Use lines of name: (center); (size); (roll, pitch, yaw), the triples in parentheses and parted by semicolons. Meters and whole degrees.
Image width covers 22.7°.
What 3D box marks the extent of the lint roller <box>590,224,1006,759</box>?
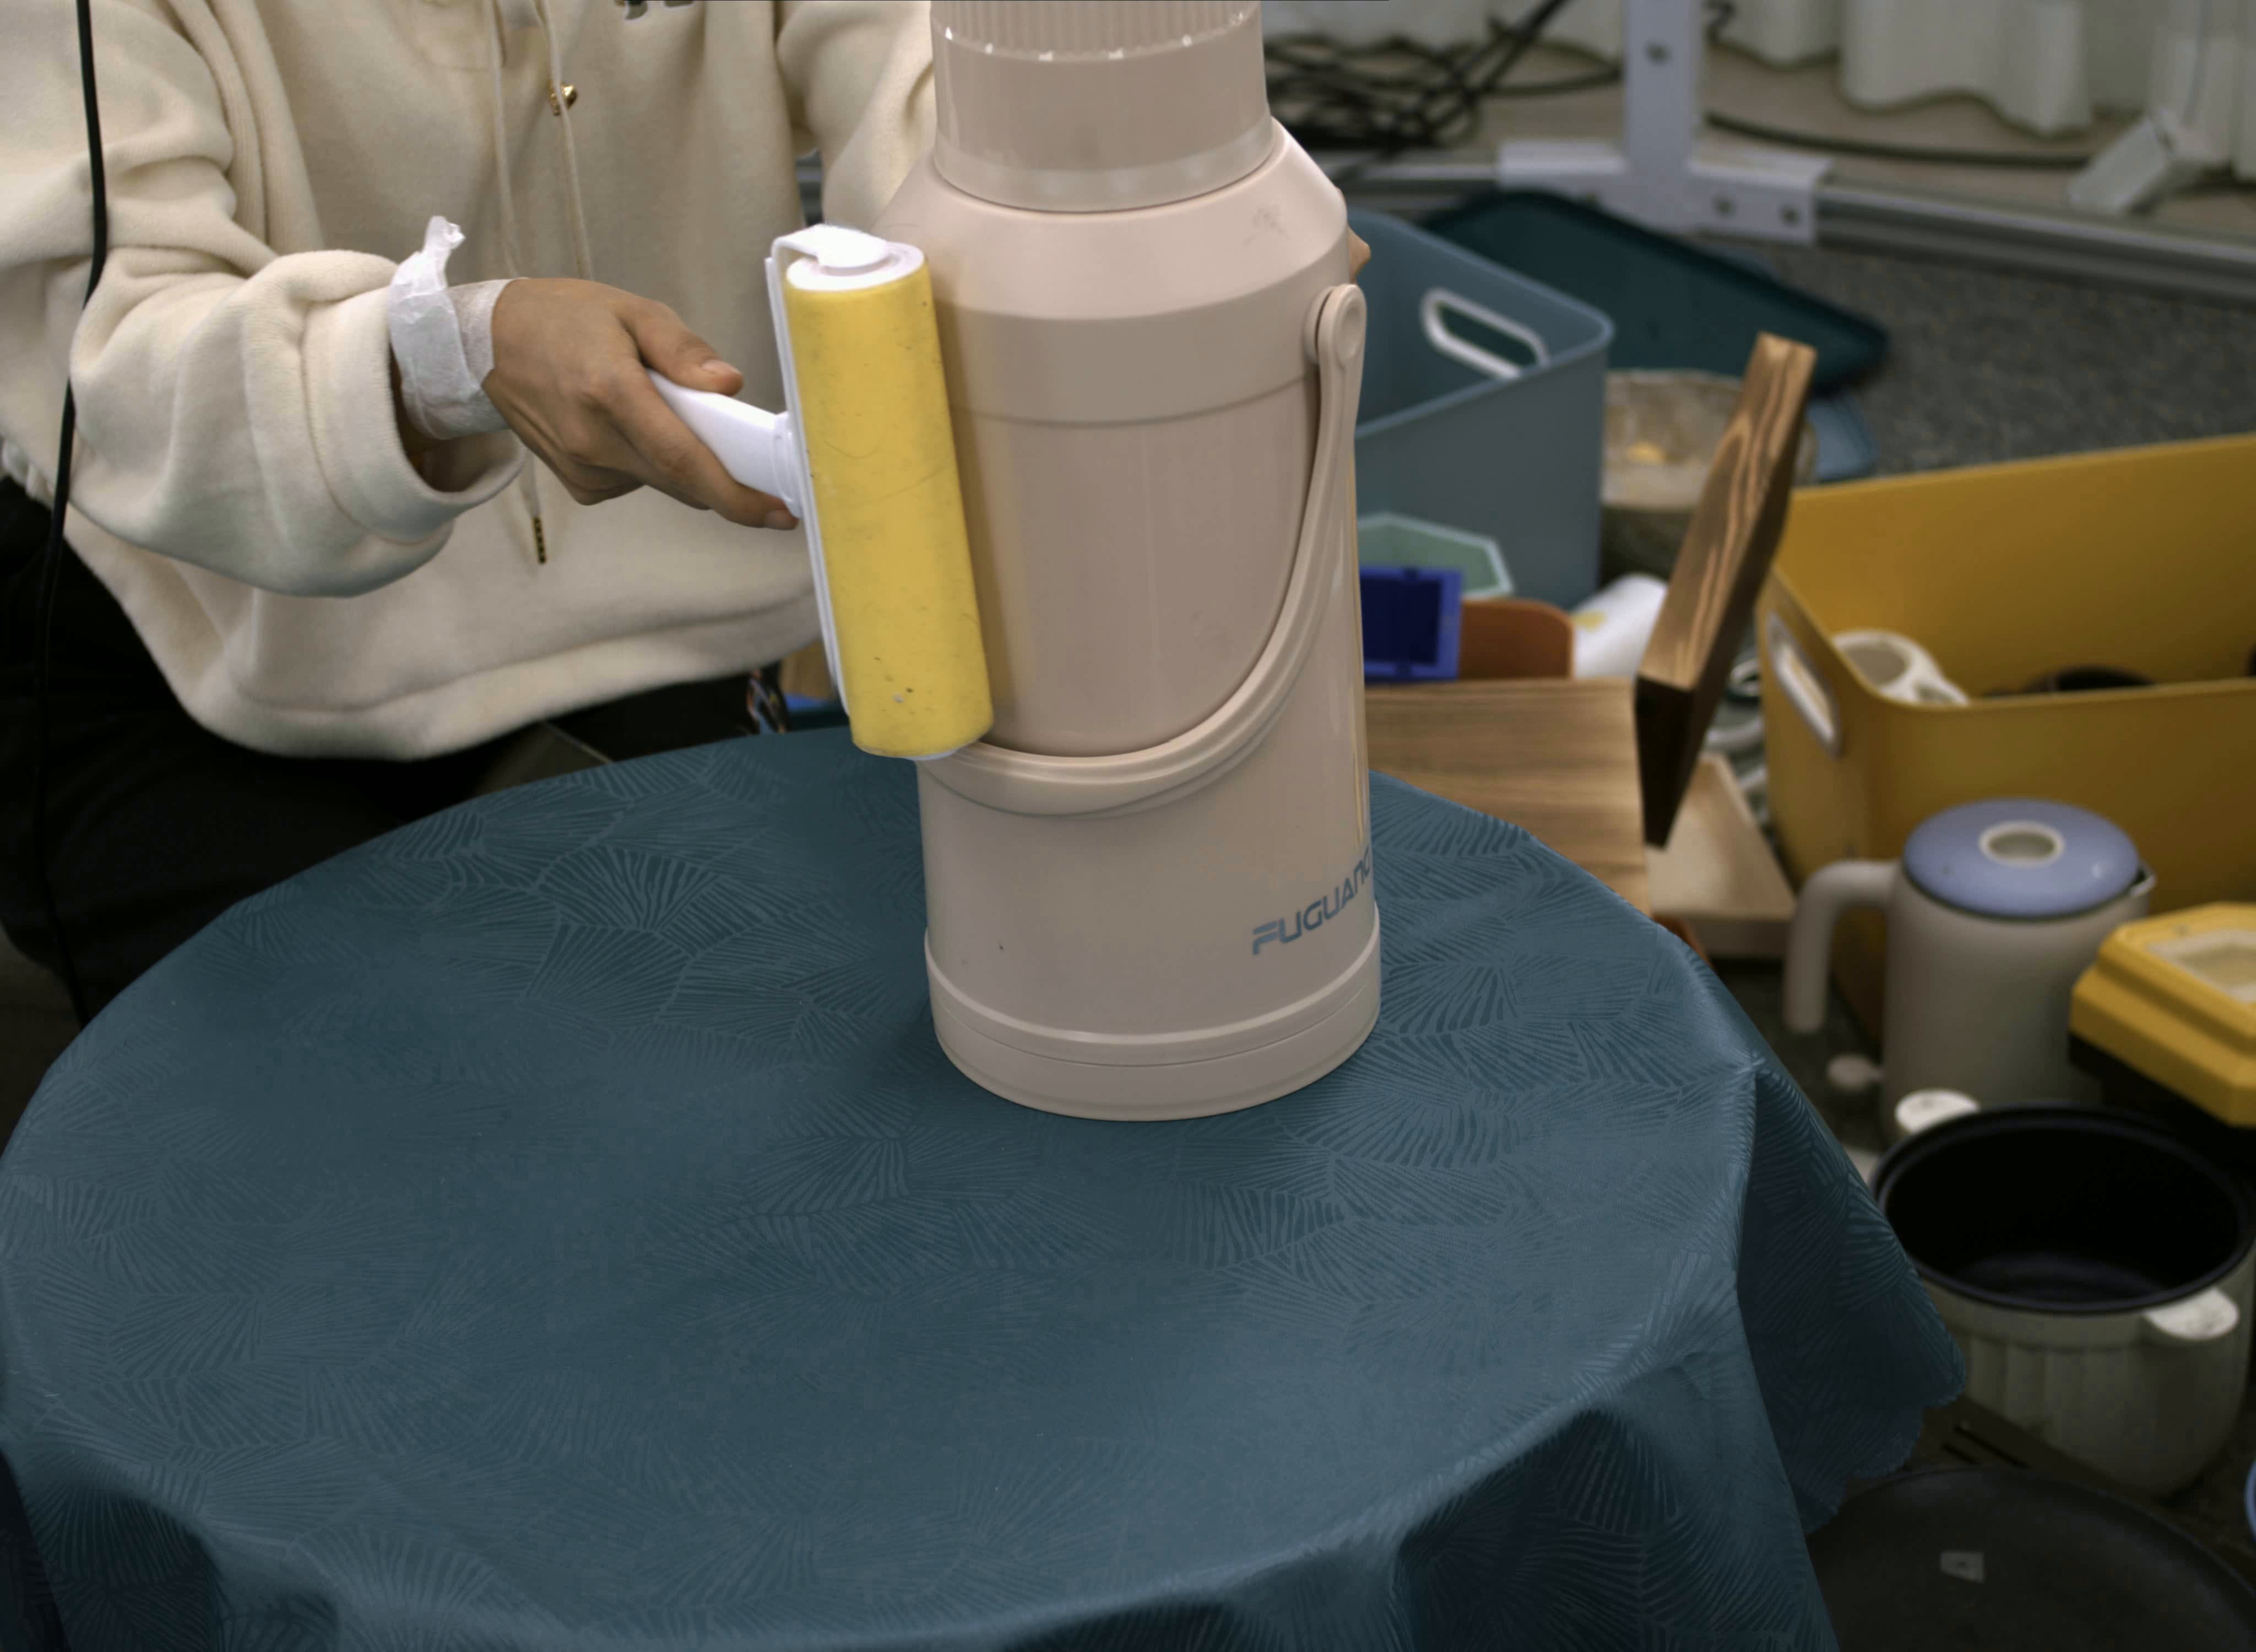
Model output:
lint roller: (-0.124, -0.118, 1.859); (0.191, 0.173, 0.052); (12, 28, 41)

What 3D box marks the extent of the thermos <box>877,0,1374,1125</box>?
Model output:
thermos: (0.007, -0.116, 1.895); (0.174, 0.402, 0.210); (10, 29, 26)
